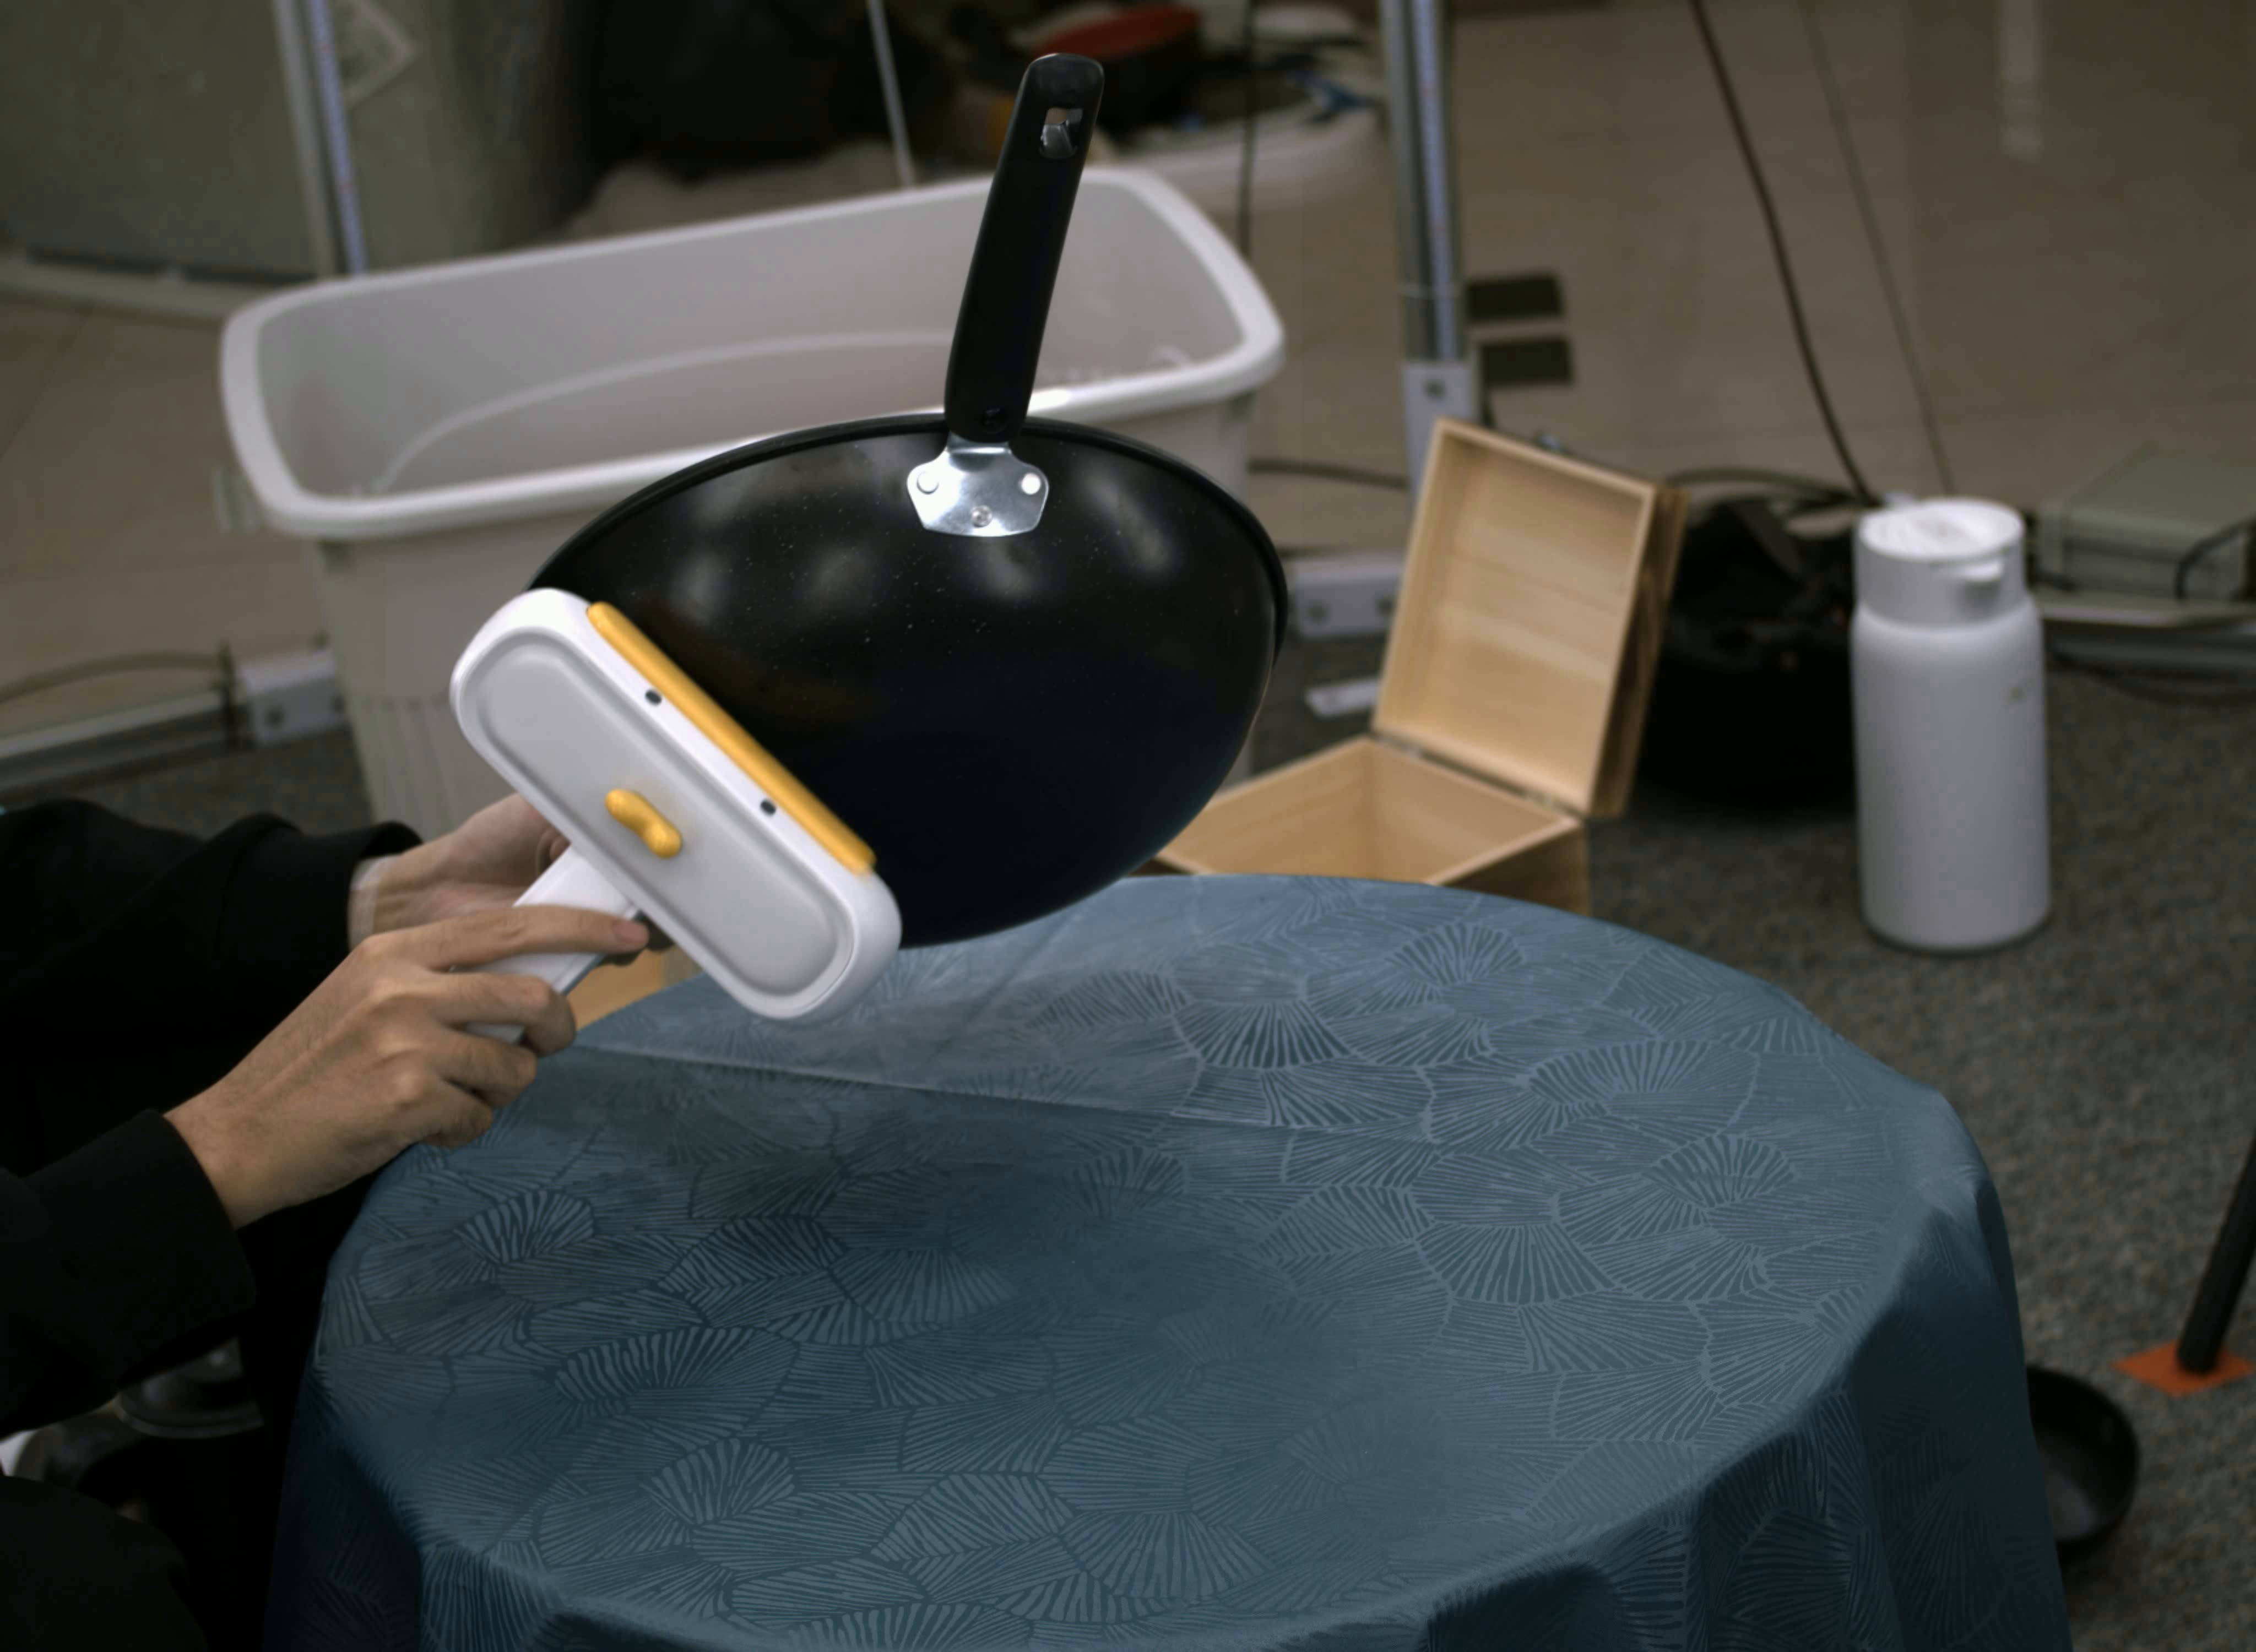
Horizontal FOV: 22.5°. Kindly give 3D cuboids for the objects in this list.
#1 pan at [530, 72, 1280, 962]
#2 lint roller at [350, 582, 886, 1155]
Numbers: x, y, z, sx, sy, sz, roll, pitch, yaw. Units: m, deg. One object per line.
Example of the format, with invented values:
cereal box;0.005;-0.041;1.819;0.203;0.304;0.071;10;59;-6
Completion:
pan;-0.069;-0.084;2.092;0.310;0.484;0.110;-2;59;-17
lint roller;-0.209;0.037;2.047;0.193;0.193;0.074;-50;4;6
